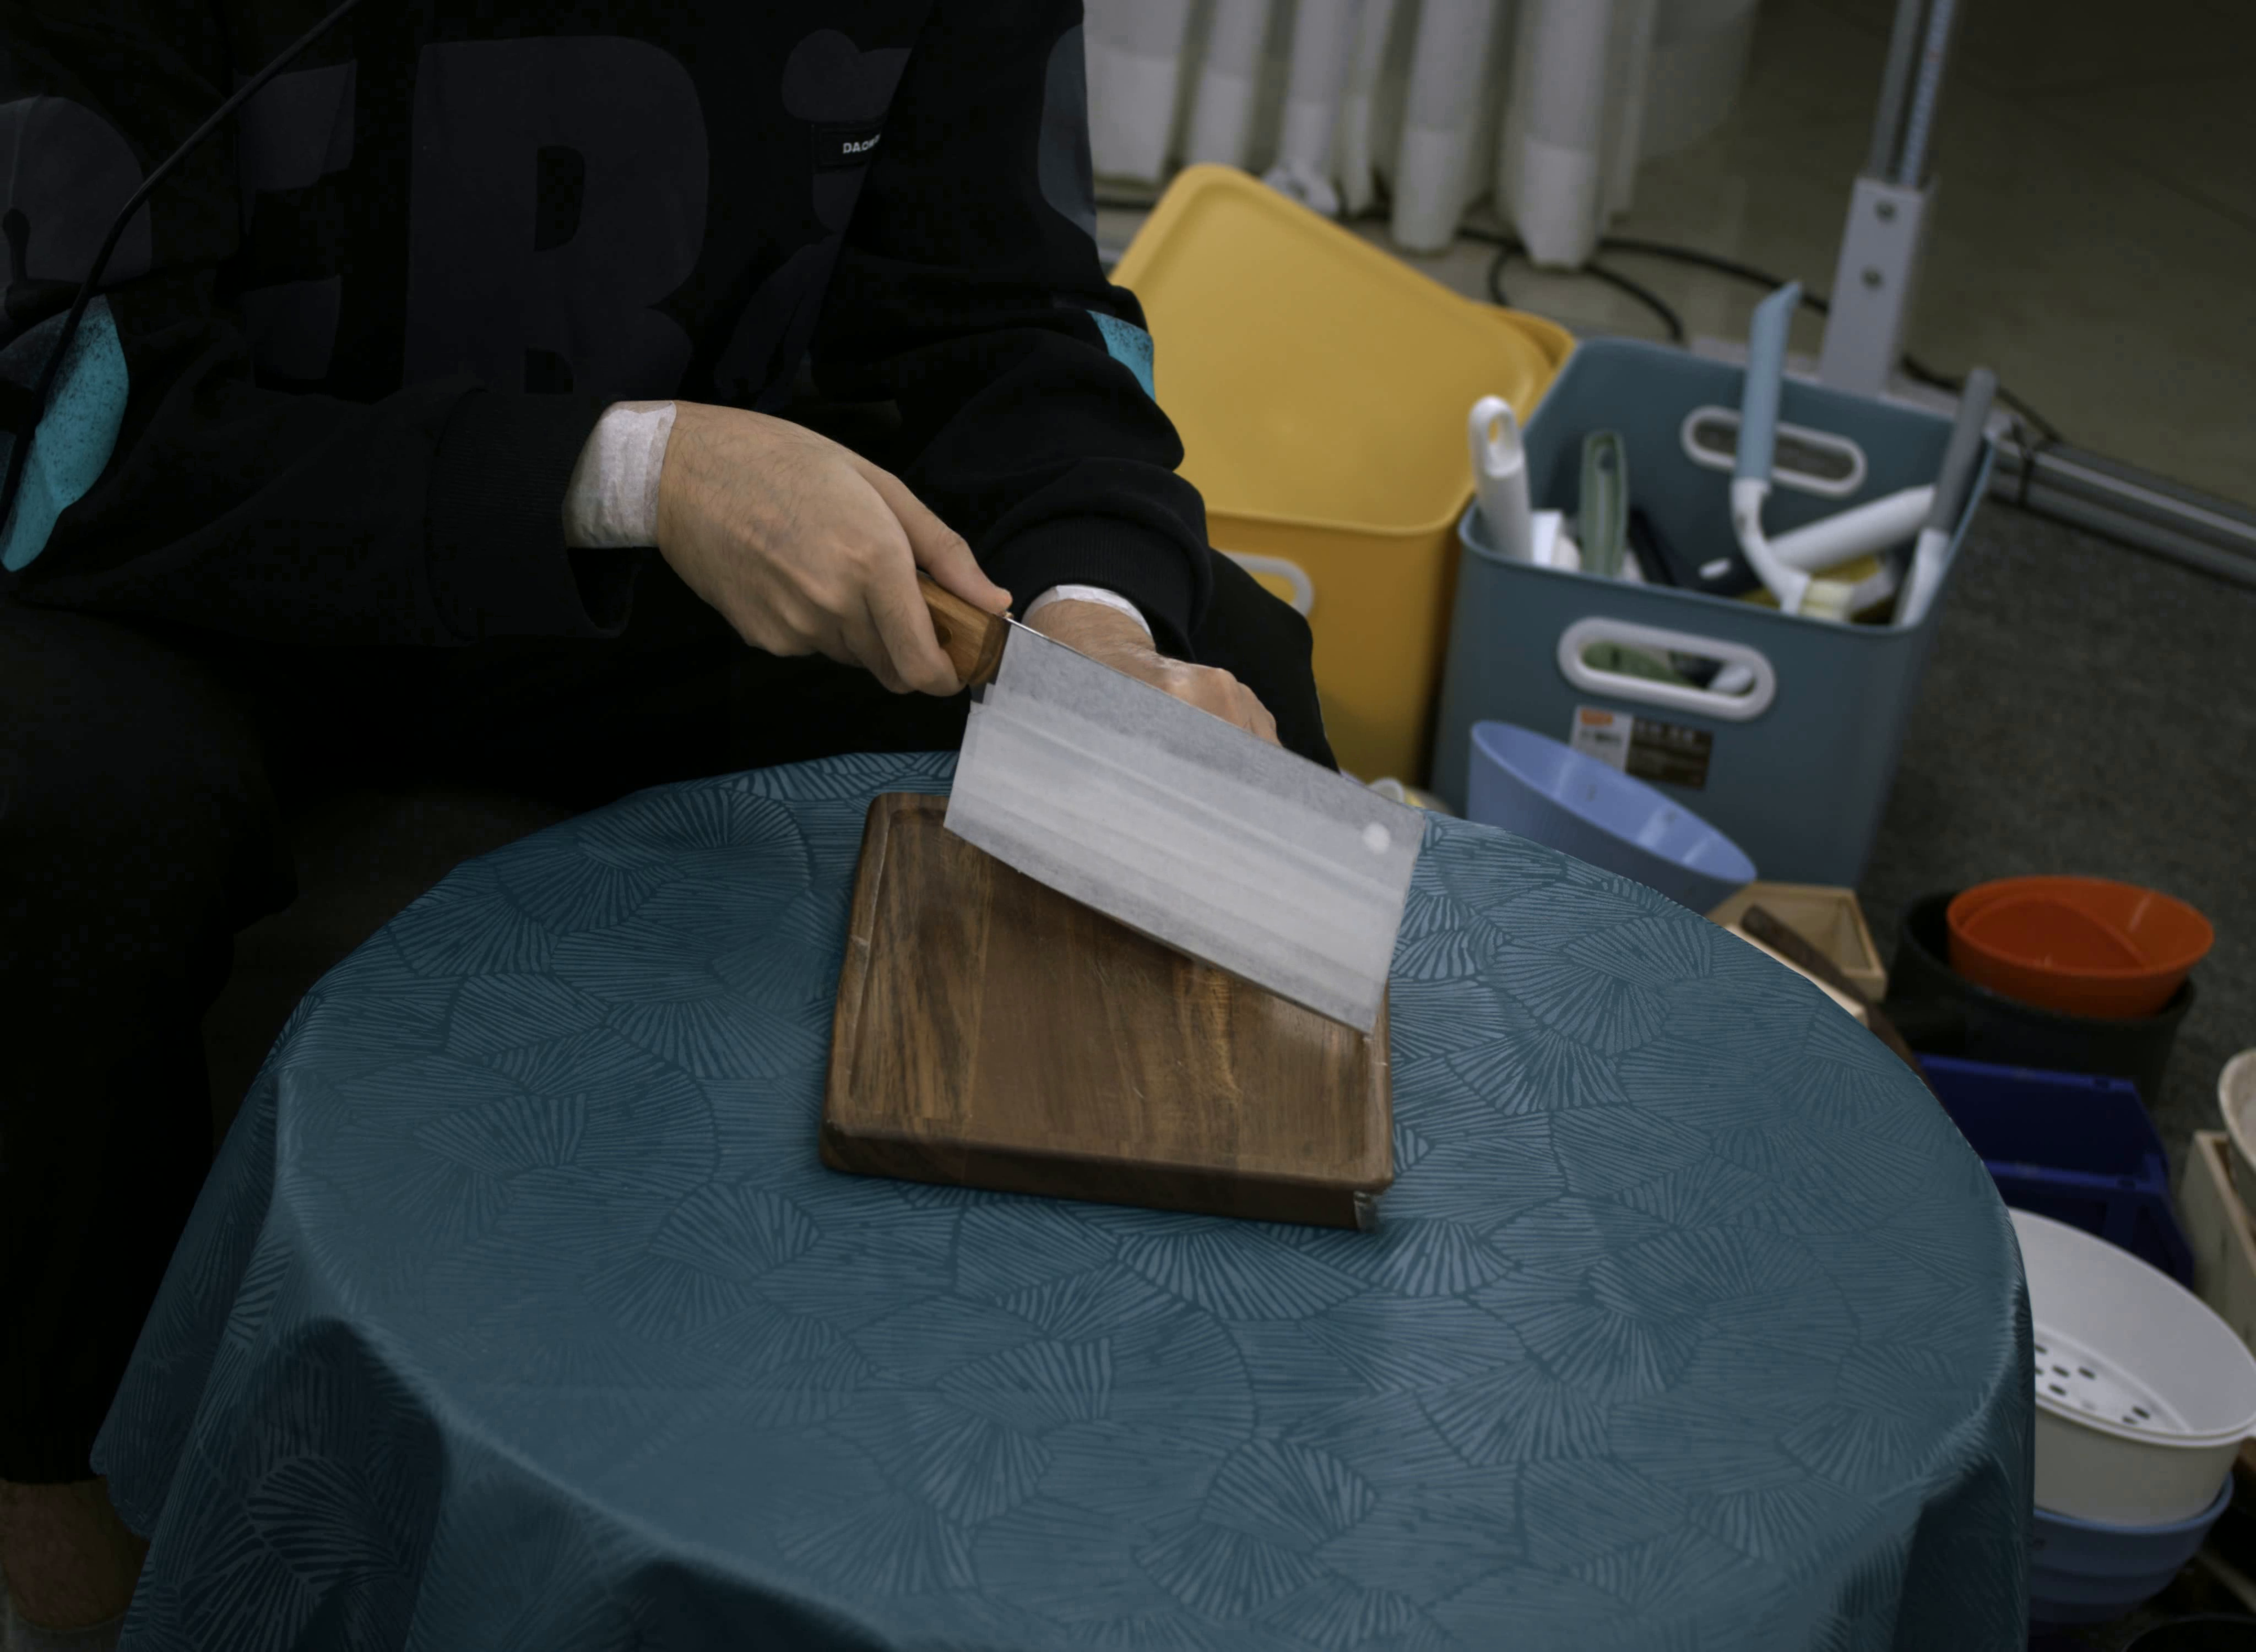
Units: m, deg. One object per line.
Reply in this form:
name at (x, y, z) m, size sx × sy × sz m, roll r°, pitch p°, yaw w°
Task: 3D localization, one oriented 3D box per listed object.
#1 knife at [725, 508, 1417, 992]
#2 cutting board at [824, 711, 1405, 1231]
knife at (-0.028, -0.025, 1.921) m, size 0.307 × 0.093 × 0.021 m, roll 26°, pitch 28°, yaw 27°
cutting board at (-0.003, 0.040, 1.942) m, size 0.200 × 0.023 × 0.354 m, roll 6°, pitch 27°, yaw -2°
